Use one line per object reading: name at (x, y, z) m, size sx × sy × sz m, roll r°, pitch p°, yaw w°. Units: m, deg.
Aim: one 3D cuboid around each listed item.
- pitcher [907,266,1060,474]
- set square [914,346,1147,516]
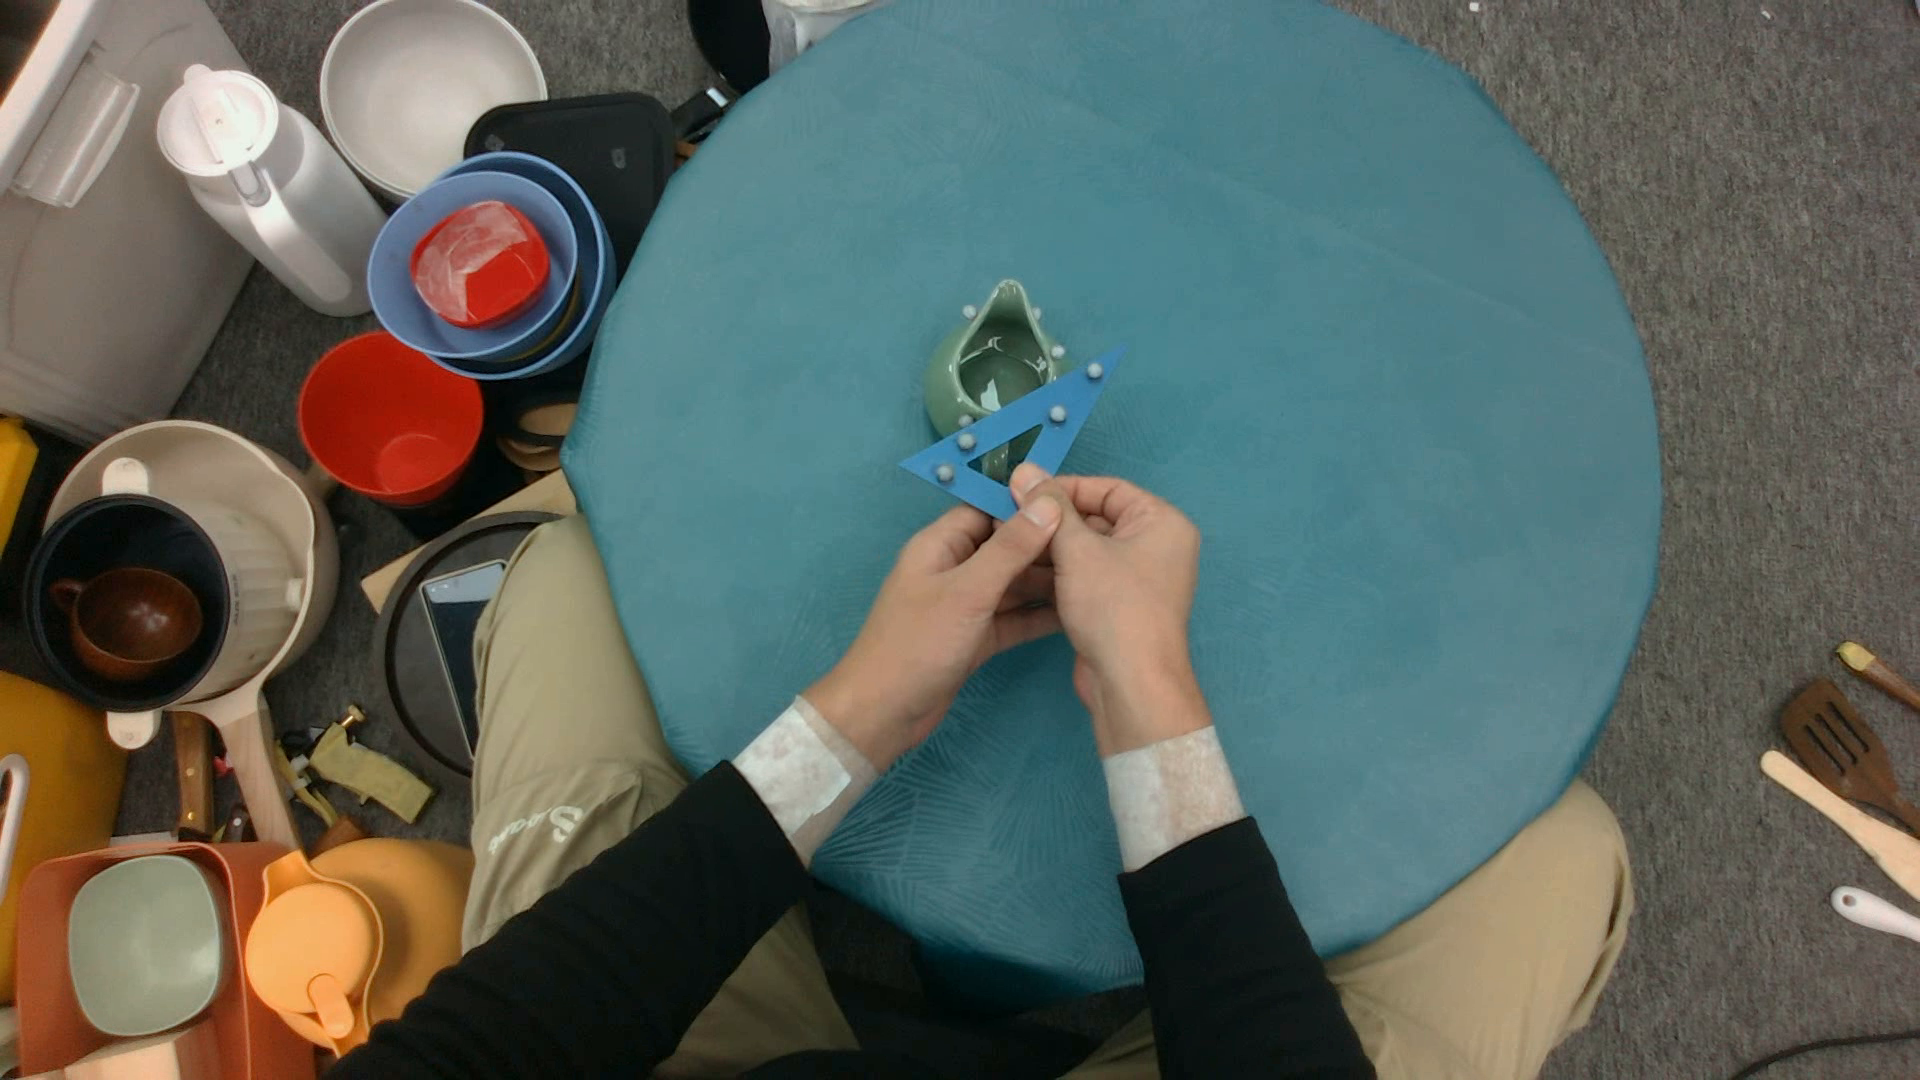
pitcher at (0.013, -0.086, 0.745) m, size 0.084 × 0.056 × 0.113 m, roll 3°, pitch 75°, yaw 1°
set square at (0.047, -0.053, 0.692) m, size 0.132 × 0.006 × 0.061 m, roll -26°, pitch 74°, yaw -13°
